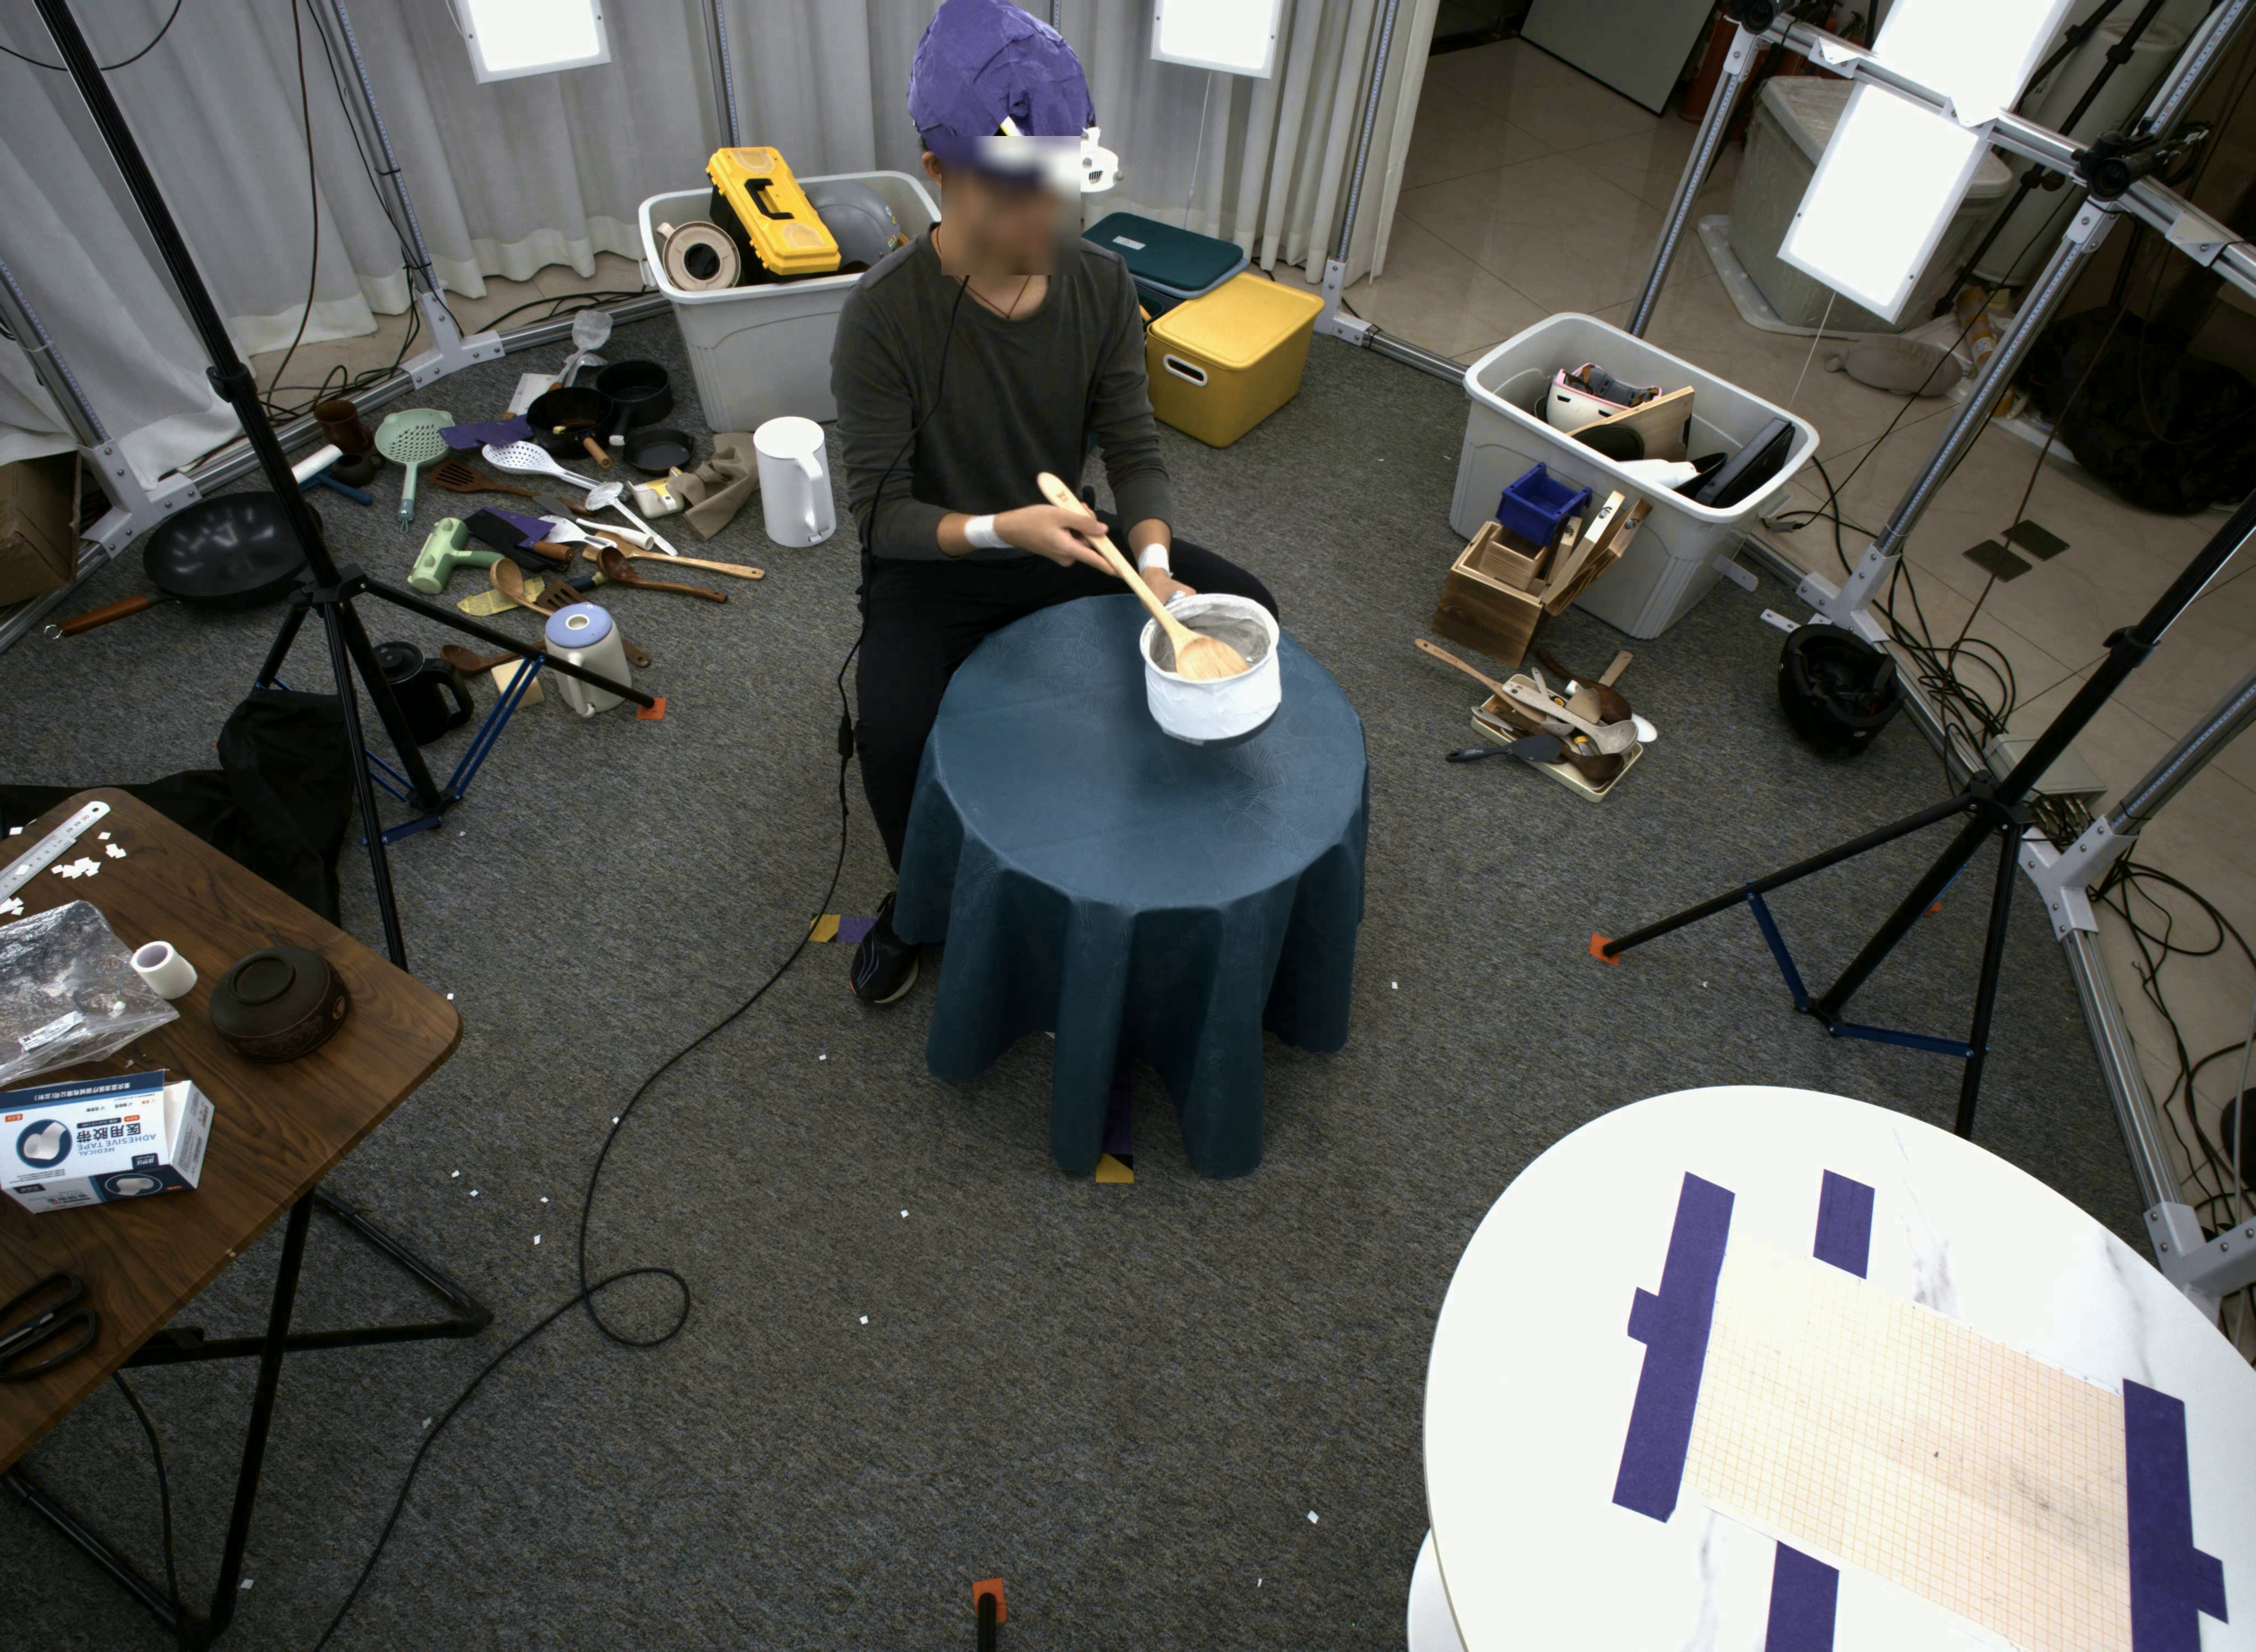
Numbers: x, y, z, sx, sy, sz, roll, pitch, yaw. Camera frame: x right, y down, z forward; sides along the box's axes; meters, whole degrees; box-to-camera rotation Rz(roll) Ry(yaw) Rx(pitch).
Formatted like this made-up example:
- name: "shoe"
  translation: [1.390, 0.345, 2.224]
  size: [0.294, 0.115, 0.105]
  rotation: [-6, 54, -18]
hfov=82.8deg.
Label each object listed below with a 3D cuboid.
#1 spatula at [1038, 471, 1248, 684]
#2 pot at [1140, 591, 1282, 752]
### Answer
- name: "spatula"
  translation: [0.010, -0.305, 1.656]
  size: [0.096, 0.018, 0.392]
  rotation: [-38, 86, -24]
- name: "pot"
  translation: [0.099, -0.212, 1.677]
  size: [0.179, 0.133, 0.239]
  rotation: [-21, 48, -11]
